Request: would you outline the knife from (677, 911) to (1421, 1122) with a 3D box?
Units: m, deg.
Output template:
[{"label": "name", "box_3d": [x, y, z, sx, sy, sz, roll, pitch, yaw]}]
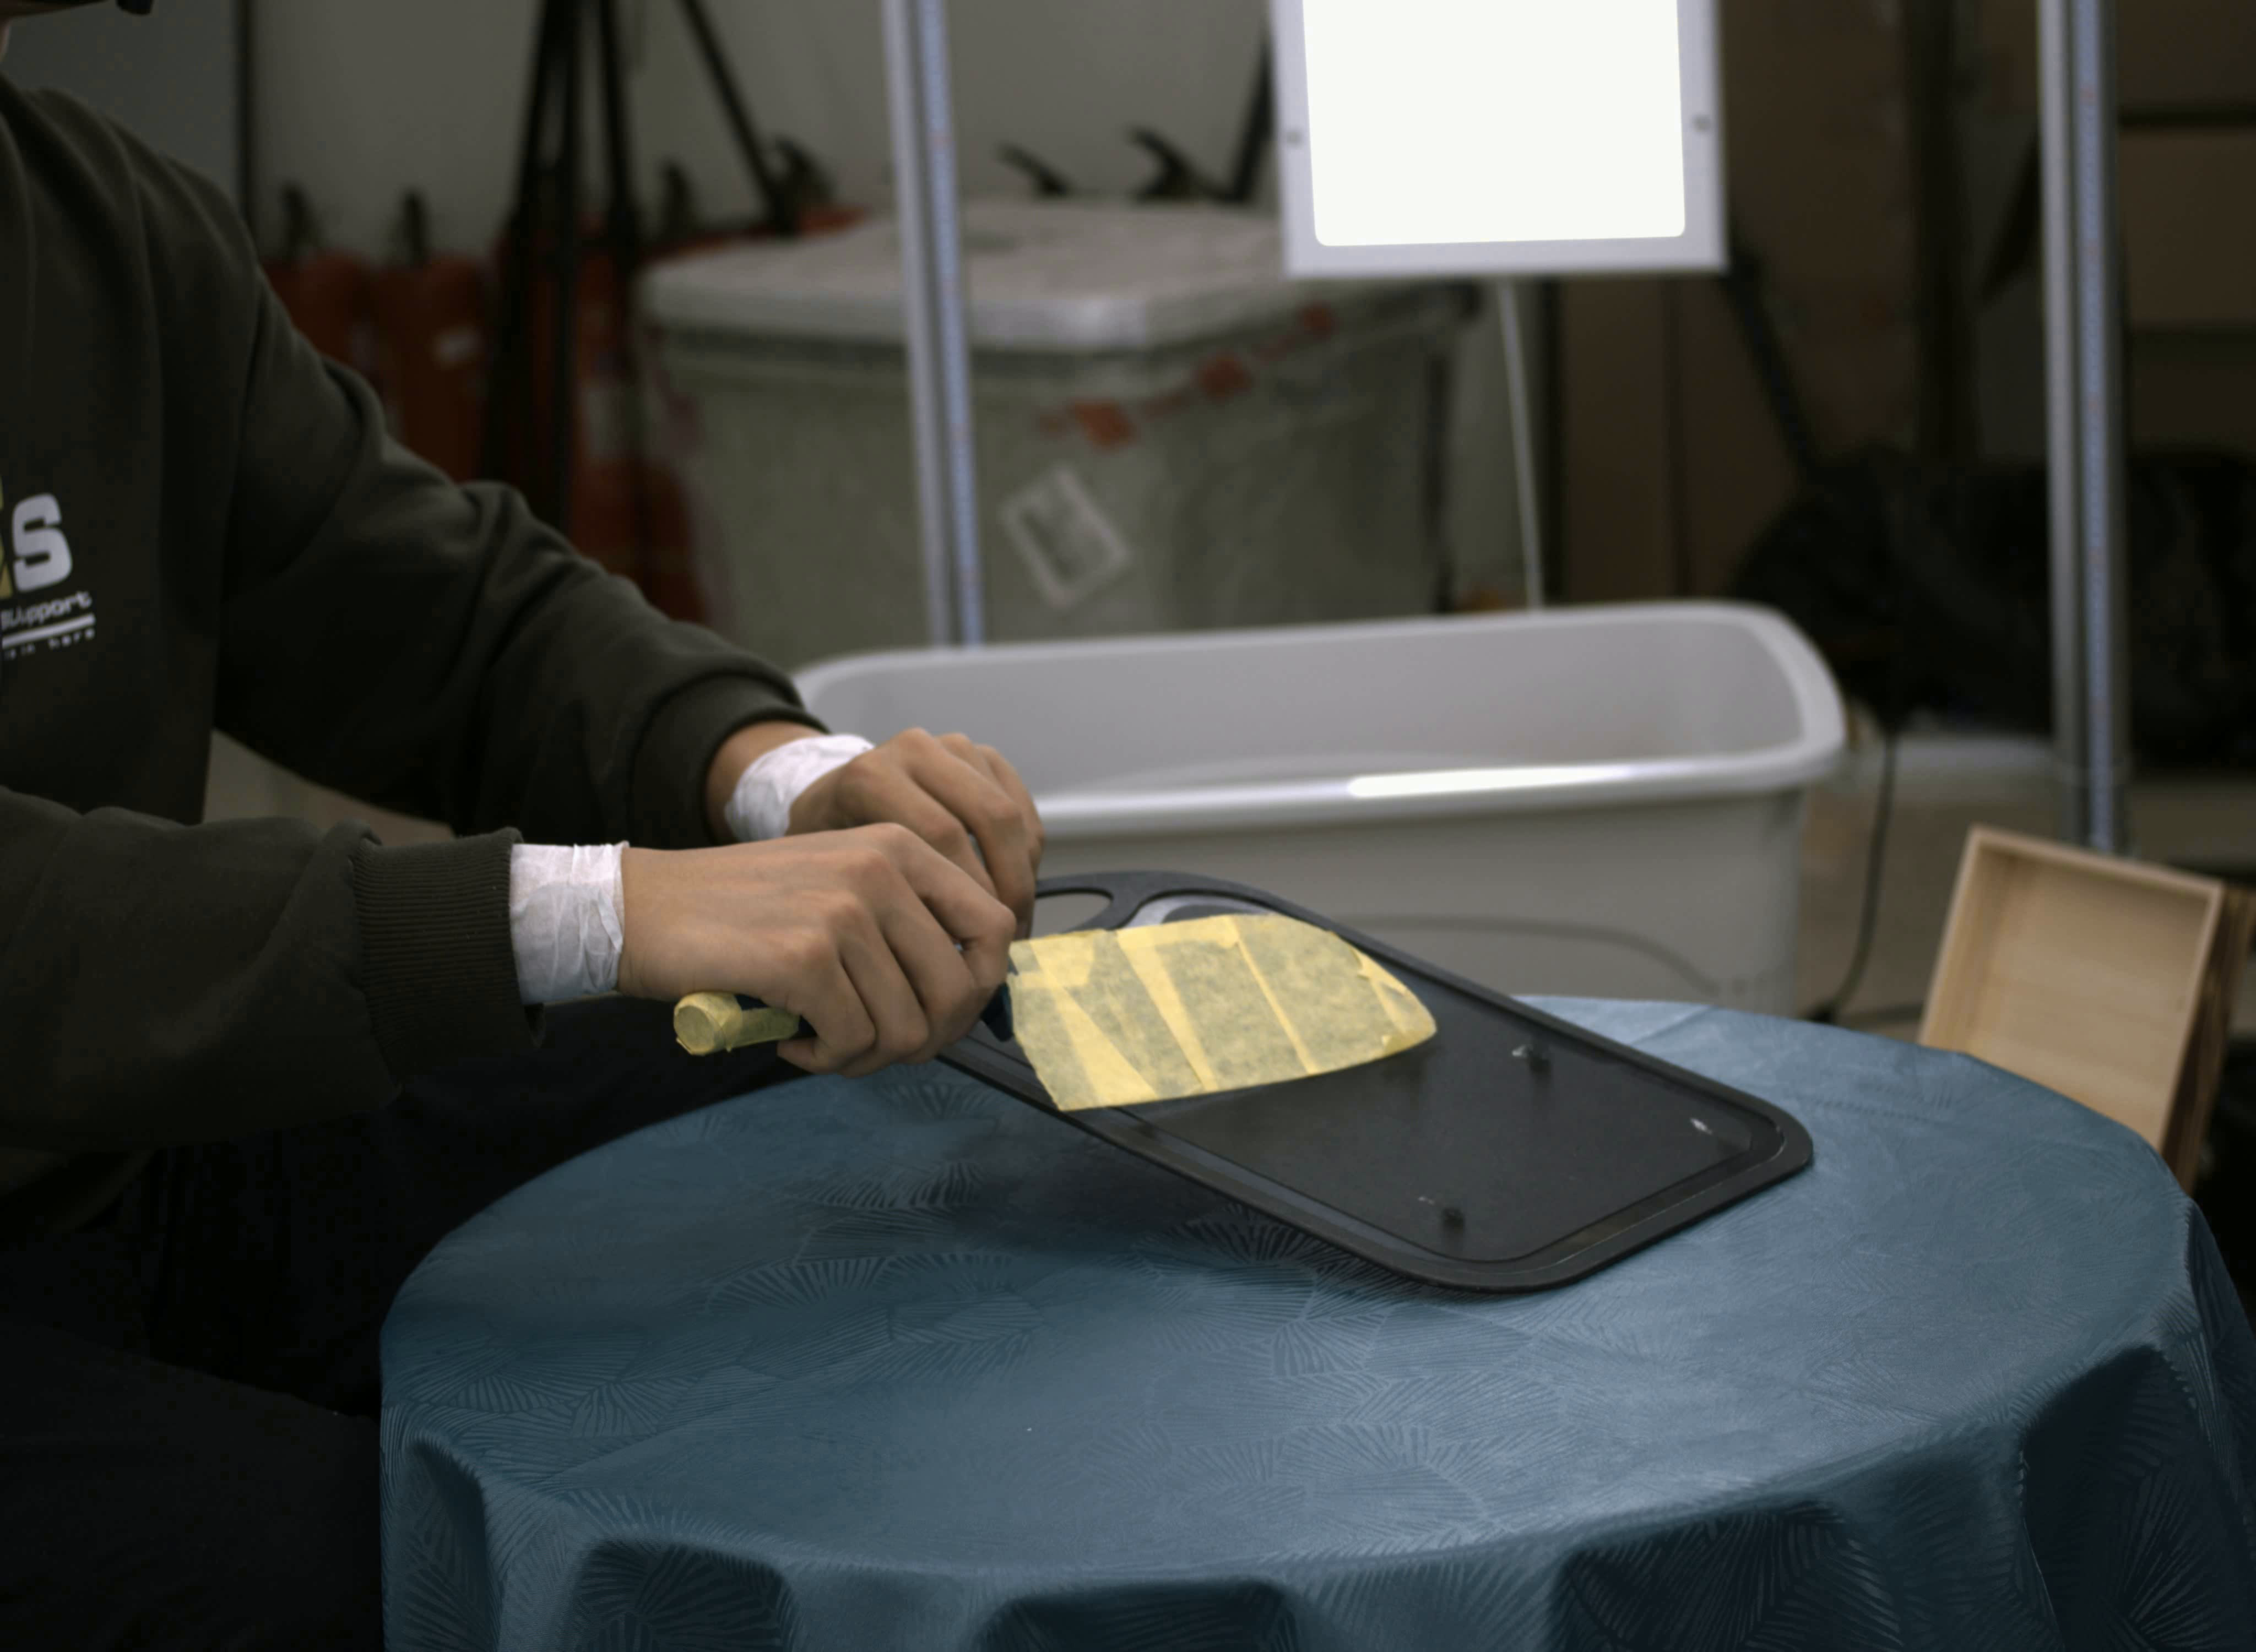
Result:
[{"label": "knife", "box_3d": [-0.019, 0.067, 1.871, 0.283, 0.027, 0.081, -6, 50, -29]}]

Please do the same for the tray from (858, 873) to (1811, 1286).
[{"label": "tray", "box_3d": [0.063, 0.080, 1.907, 0.331, 0.010, 0.206, 23, 28, 37]}]
